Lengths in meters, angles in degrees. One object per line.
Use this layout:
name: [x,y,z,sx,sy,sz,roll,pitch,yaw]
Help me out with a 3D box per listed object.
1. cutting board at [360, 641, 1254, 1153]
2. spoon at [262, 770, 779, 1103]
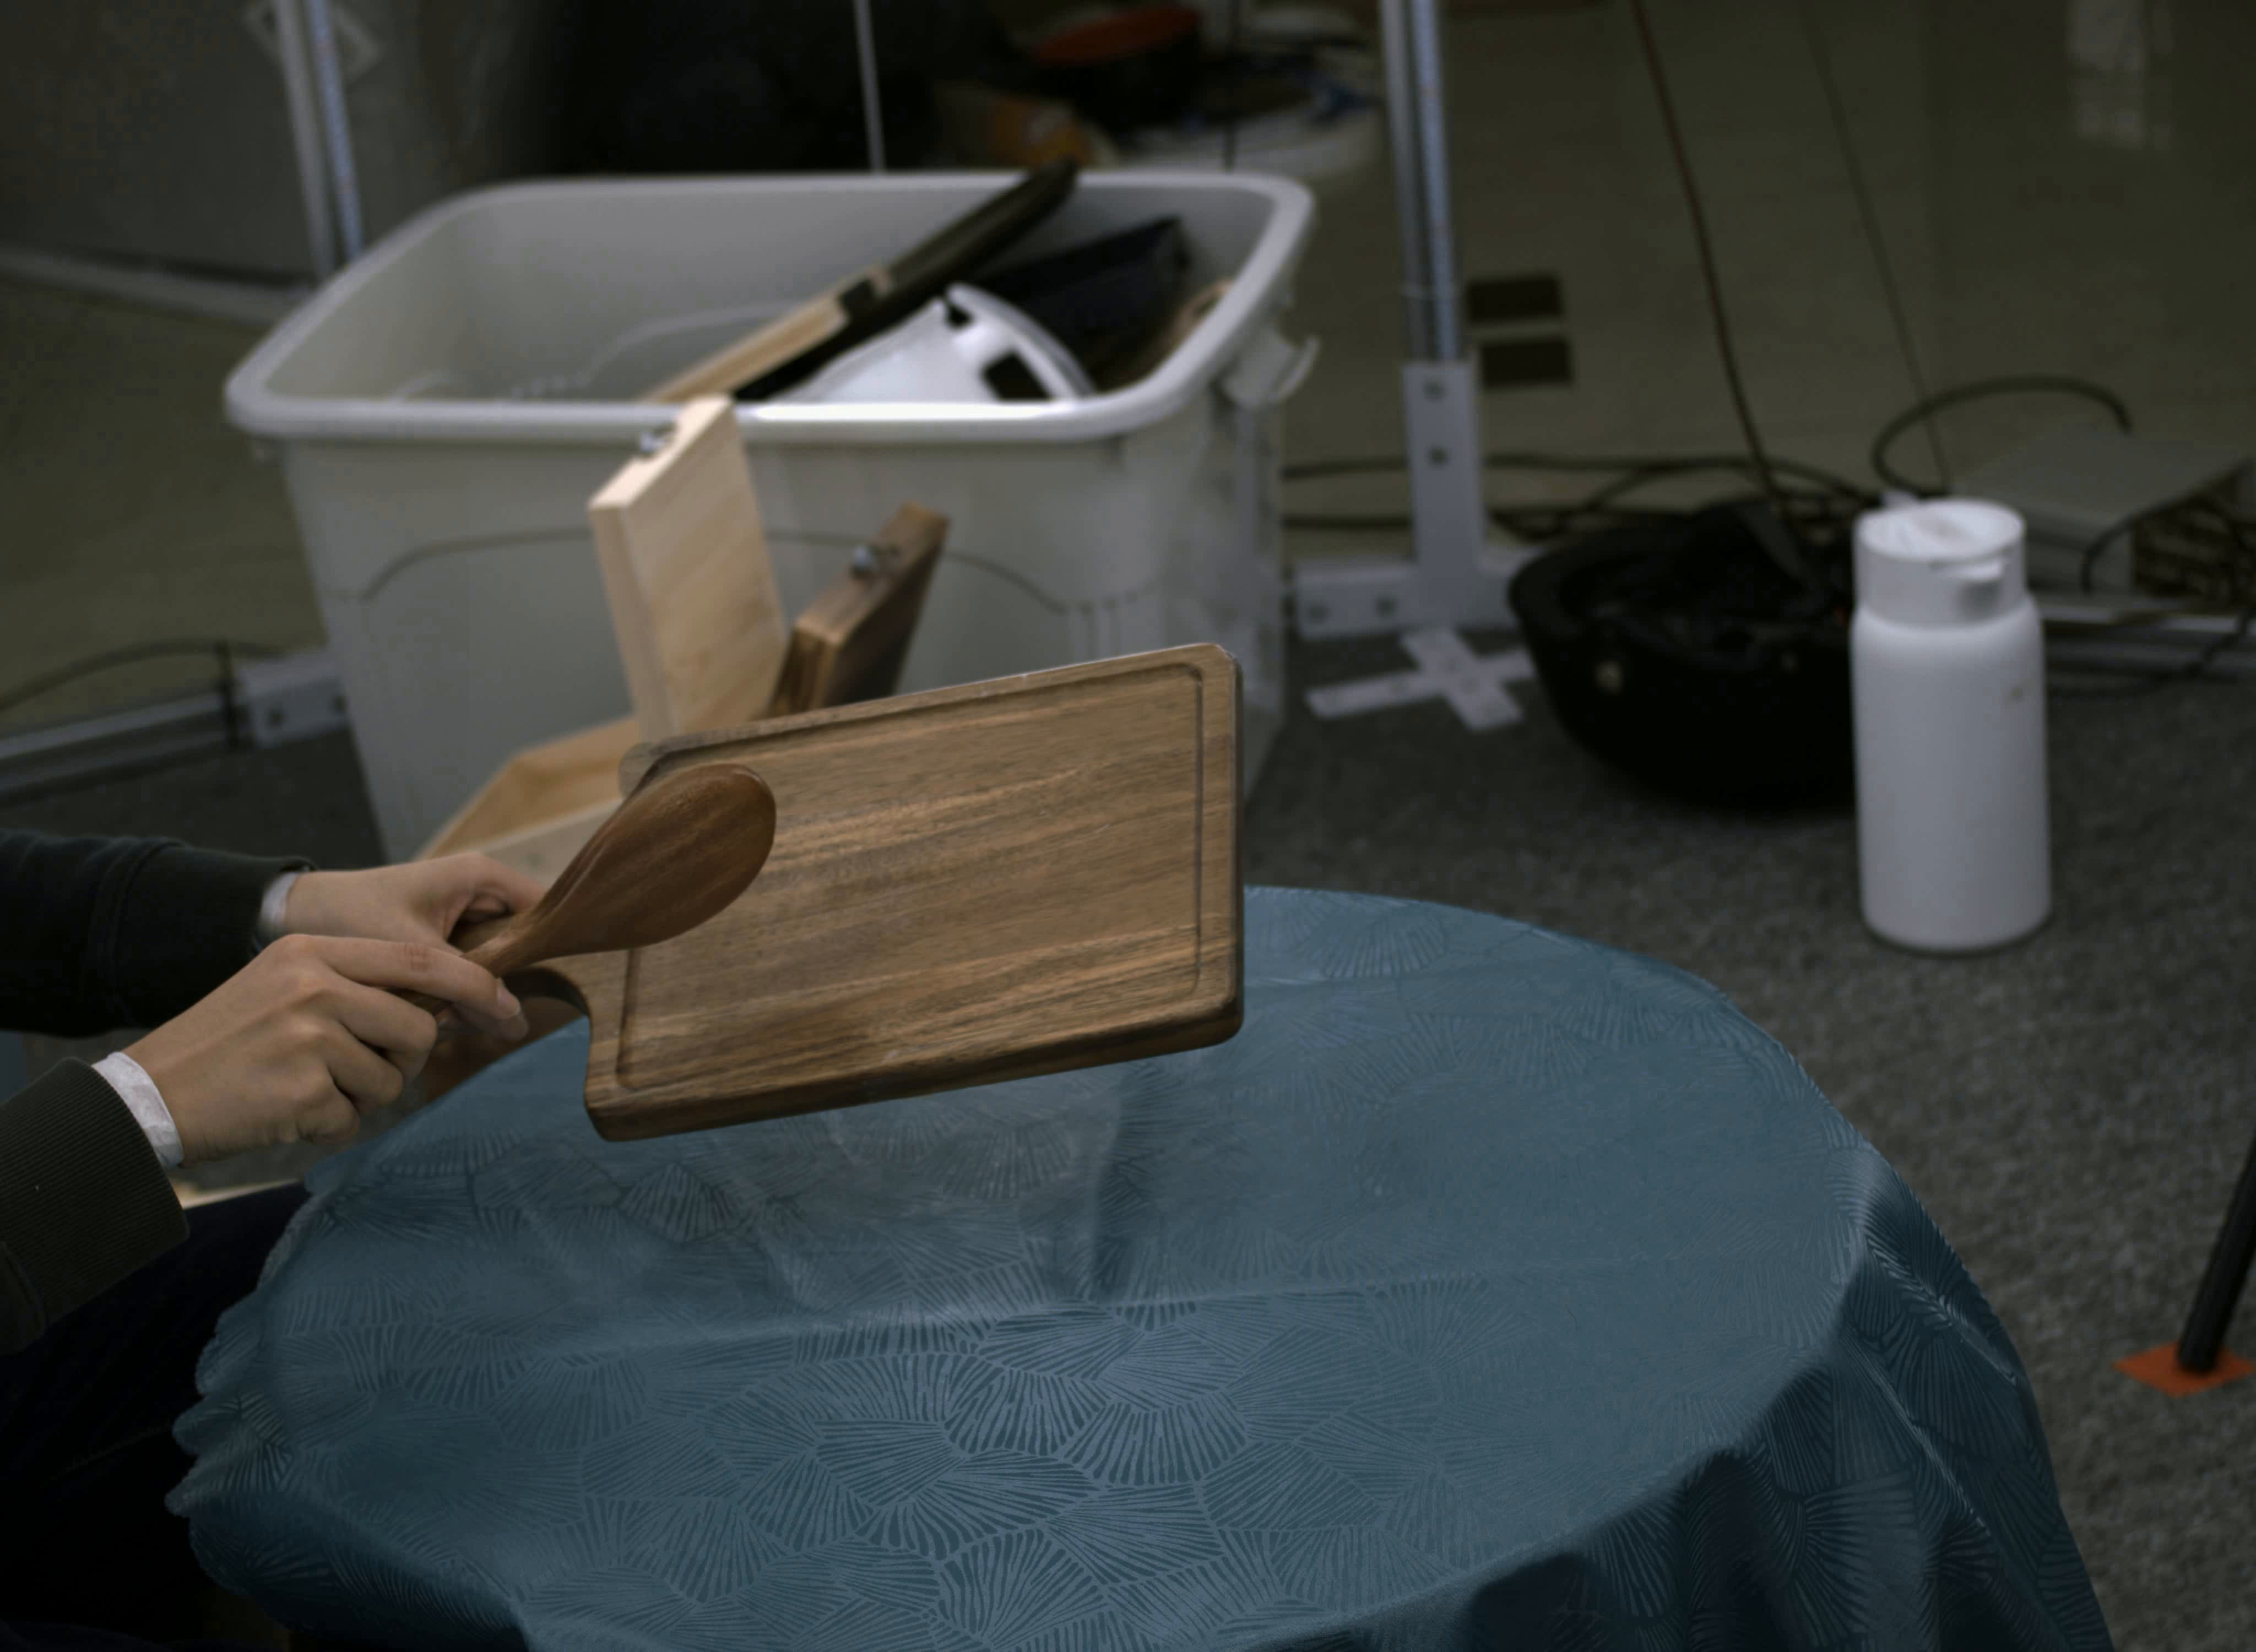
cutting board: [-0.125,0.033,2.161,0.352,0.023,0.197,-10,47,11]
spoon: [-0.216,0.043,2.053,0.214,0.077,0.017,-28,56,-18]
